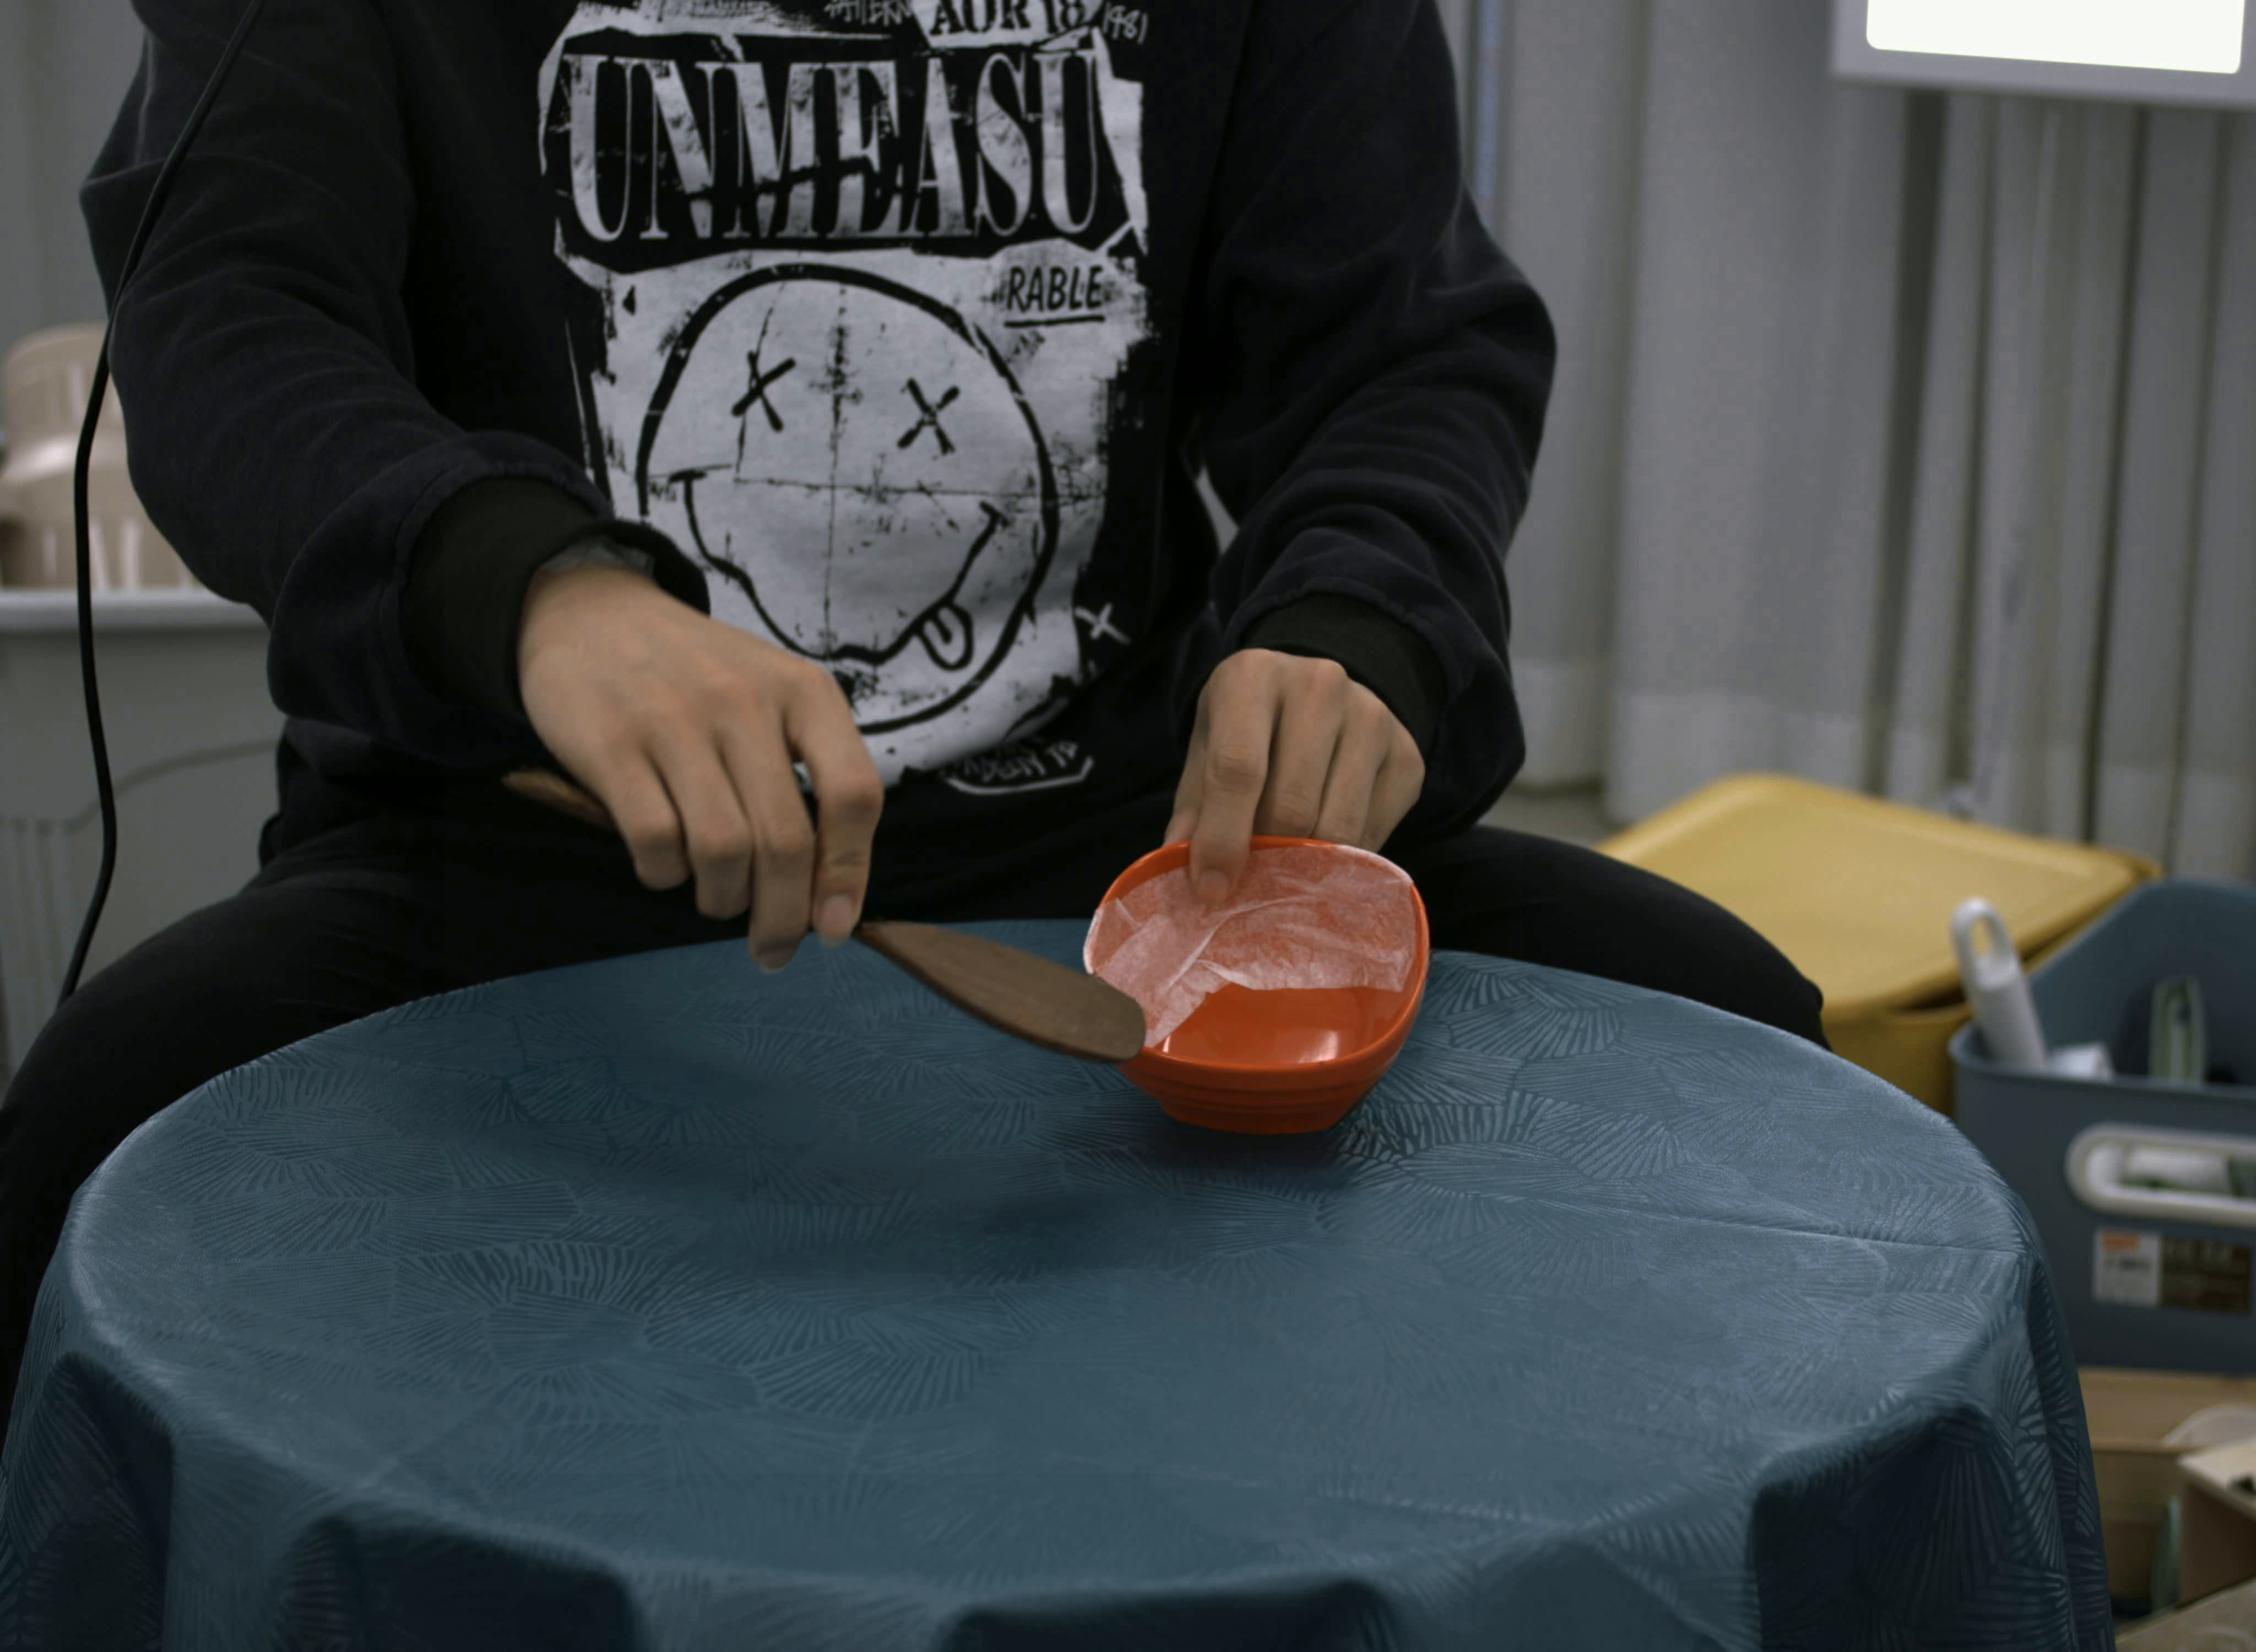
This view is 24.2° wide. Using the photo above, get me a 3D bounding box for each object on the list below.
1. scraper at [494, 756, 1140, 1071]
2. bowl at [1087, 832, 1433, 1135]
[{"bbox_3d":[-0.094,0.025,1.587,0.211,0.011,0.075,24,14,-6],"label":"scraper"},{"bbox_3d":[0.042,0.057,1.687,0.118,0.052,0.118,0,43,1],"label":"bowl"}]
